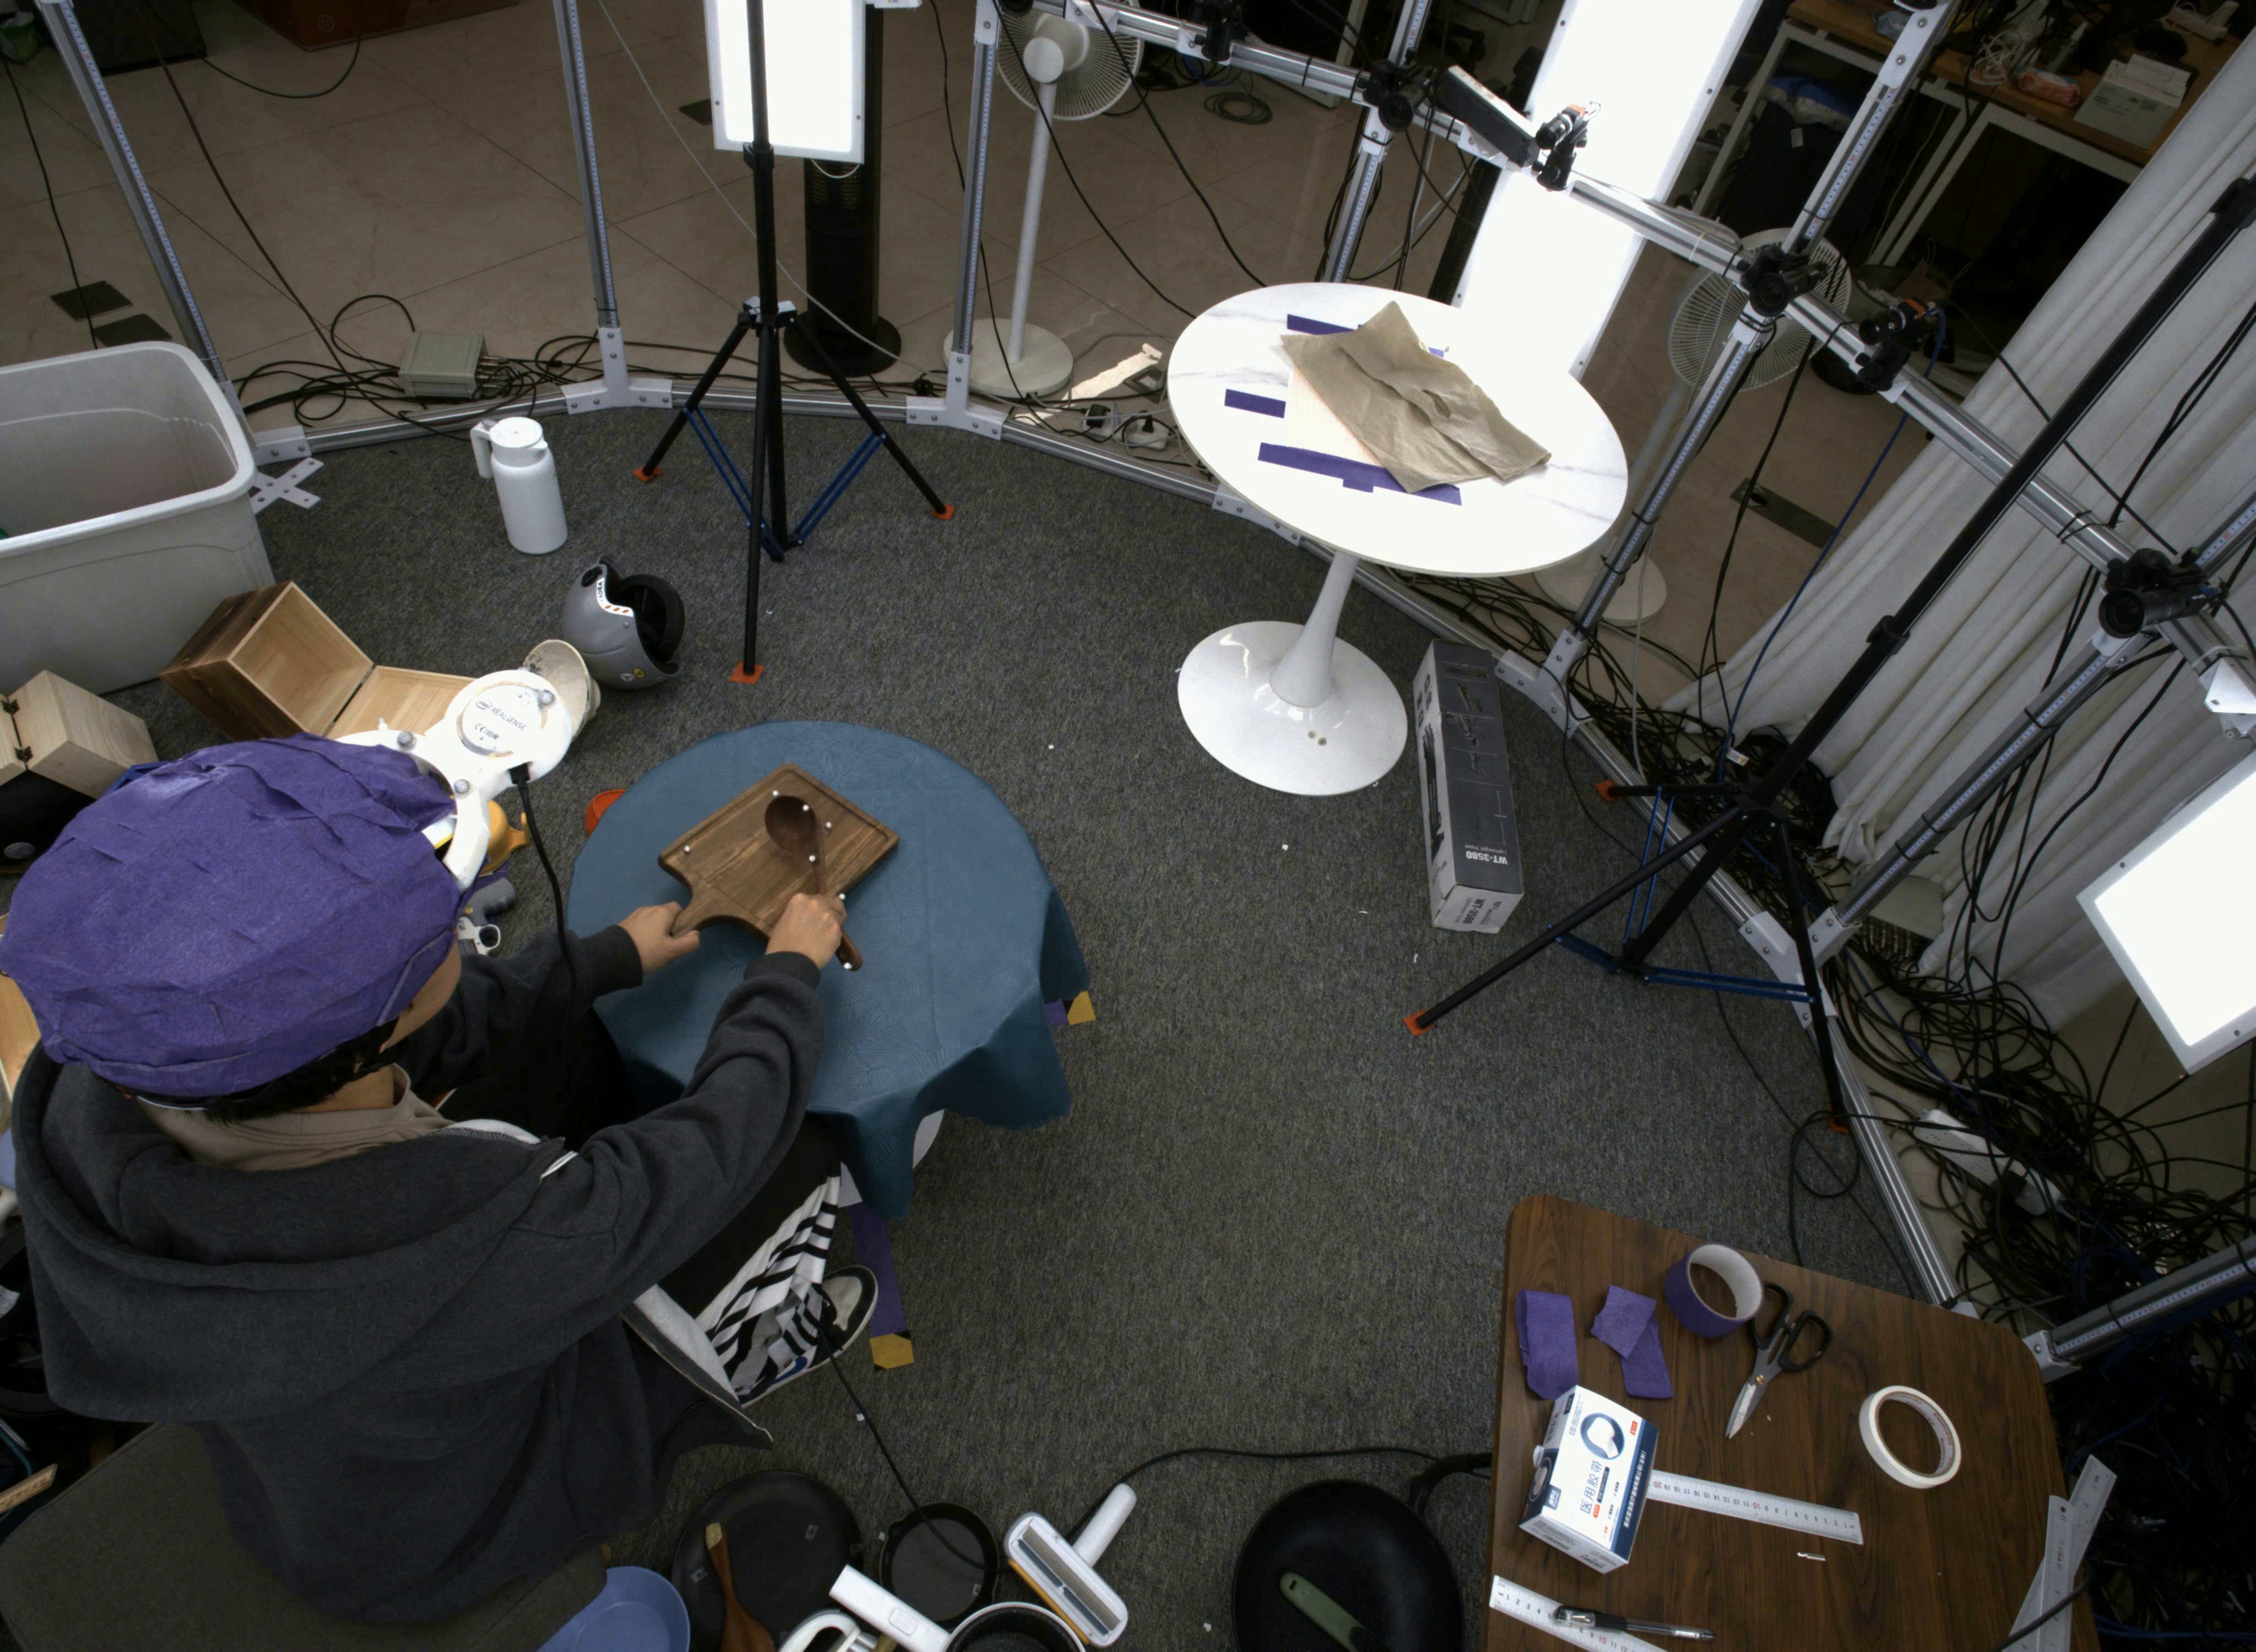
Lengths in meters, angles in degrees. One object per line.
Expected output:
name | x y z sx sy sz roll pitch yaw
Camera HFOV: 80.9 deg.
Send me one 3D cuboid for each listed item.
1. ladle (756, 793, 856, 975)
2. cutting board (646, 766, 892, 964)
ladle | -0.388 0.068 1.558 0.067 0.076 0.253 15 40 -47
cutting board | -0.473 0.058 1.616 0.198 0.023 0.351 33 42 8
